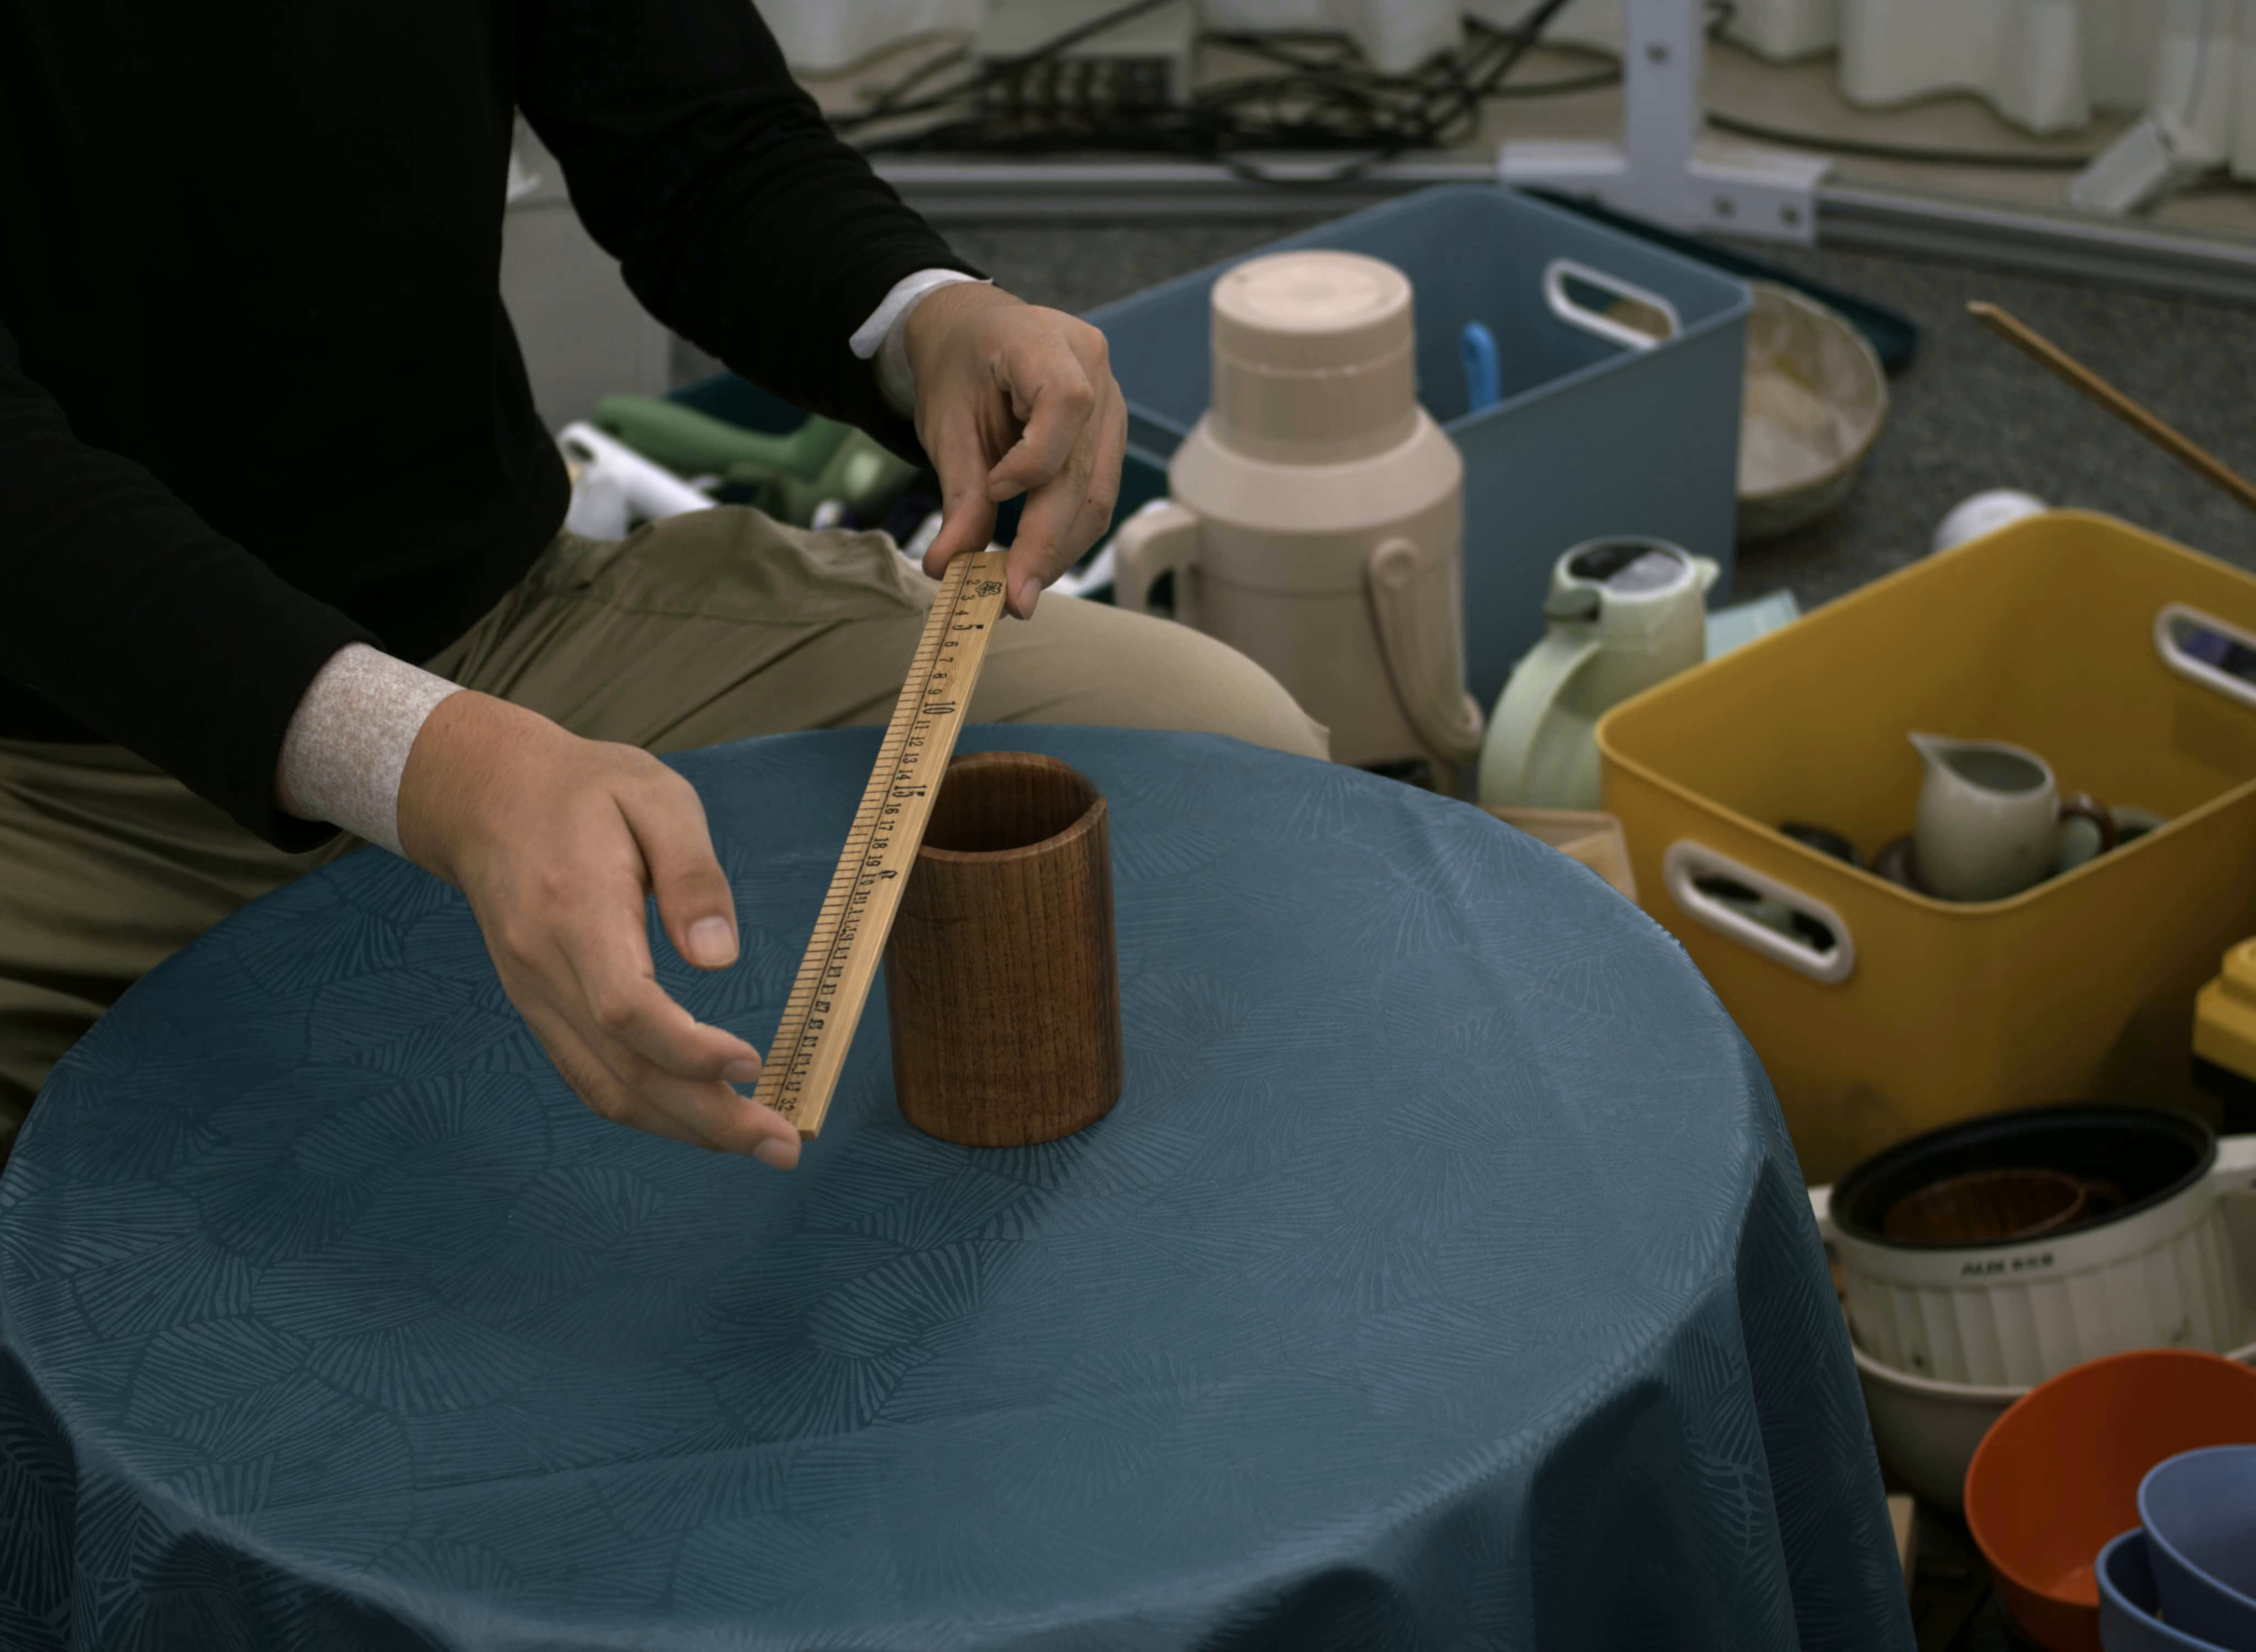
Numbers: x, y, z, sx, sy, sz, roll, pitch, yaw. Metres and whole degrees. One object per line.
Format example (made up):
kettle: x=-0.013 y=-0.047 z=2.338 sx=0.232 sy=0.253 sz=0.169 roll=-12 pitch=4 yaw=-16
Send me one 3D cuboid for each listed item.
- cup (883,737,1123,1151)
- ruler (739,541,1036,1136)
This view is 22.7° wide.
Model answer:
cup: x=-0.044 y=0.040 z=1.898 sx=0.087 sy=0.117 sz=0.089 roll=-2 pitch=26 yaw=1
ruler: x=-0.077 y=-0.005 z=1.862 sx=0.027 sy=0.022 sz=0.338 roll=3 pitch=35 yaw=12
